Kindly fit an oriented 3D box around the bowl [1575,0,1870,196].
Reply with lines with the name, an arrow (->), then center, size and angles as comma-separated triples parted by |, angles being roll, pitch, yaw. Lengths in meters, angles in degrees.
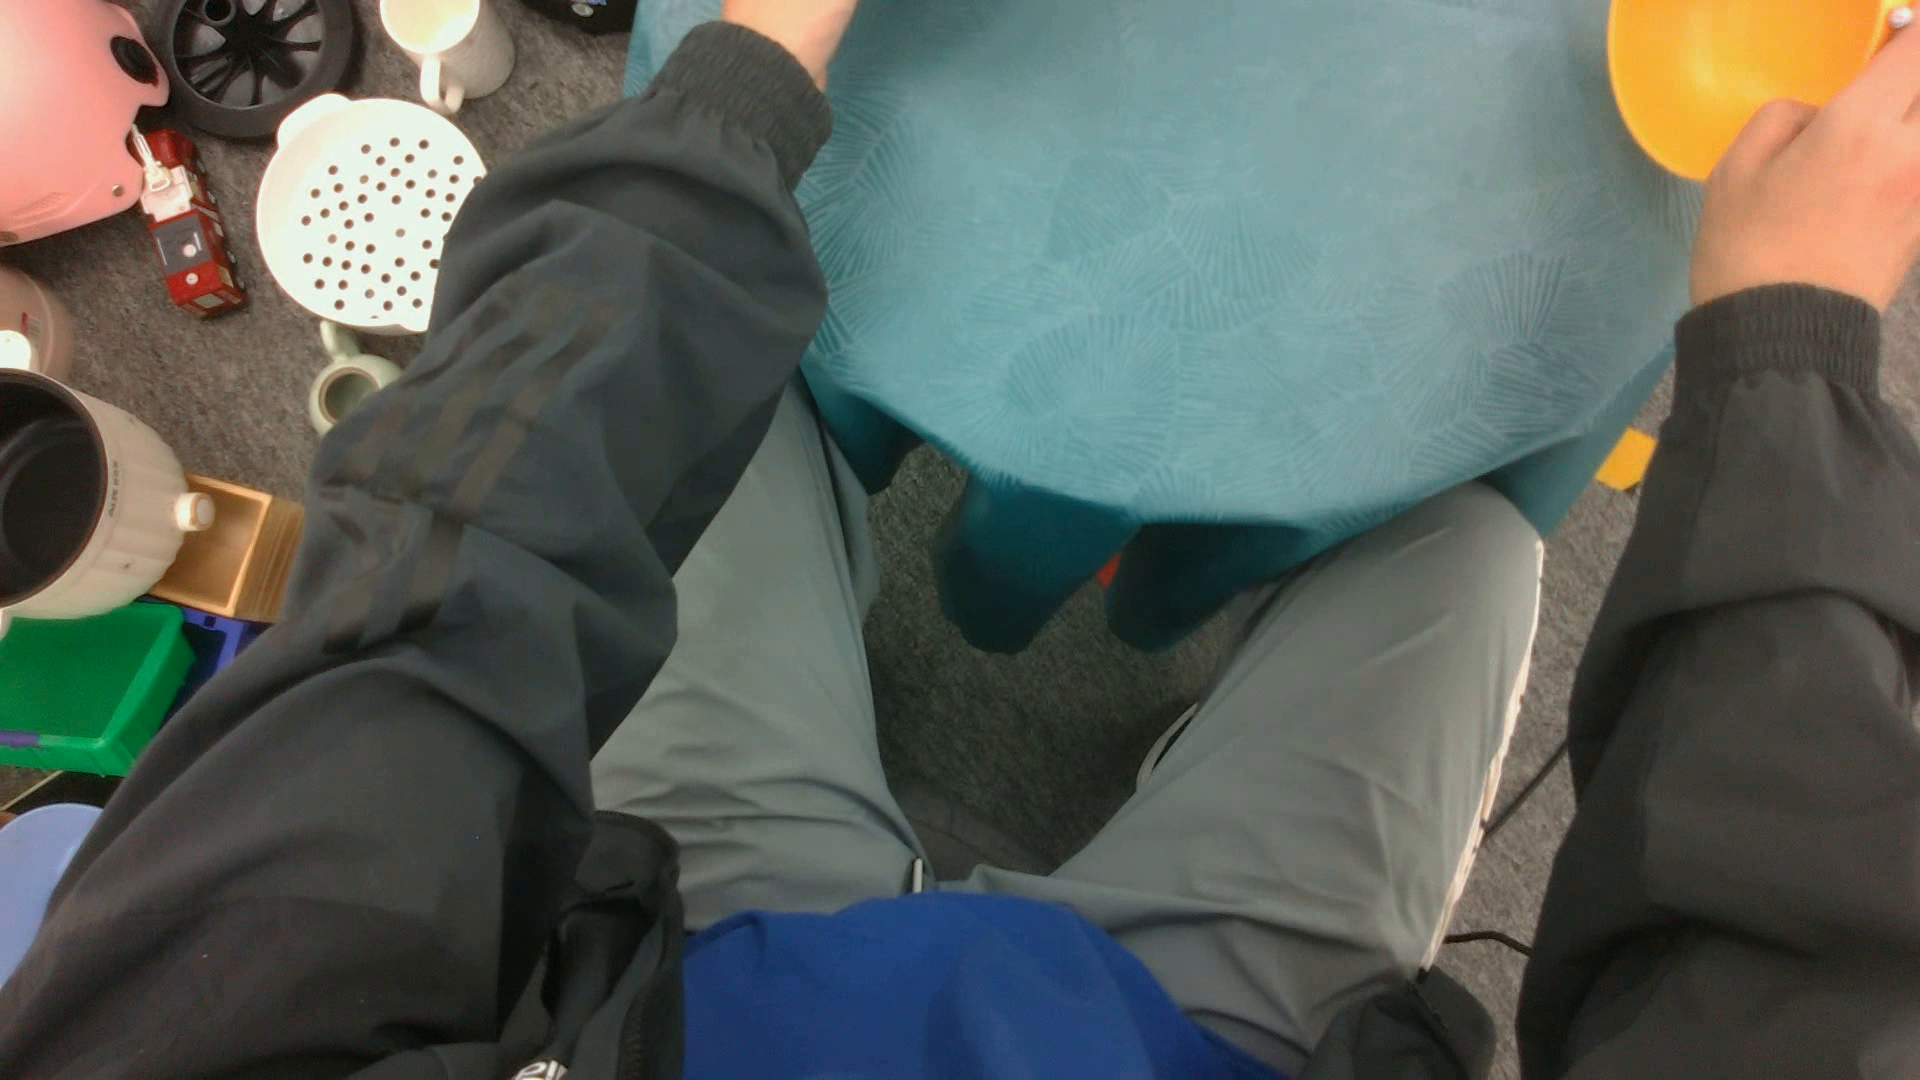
bowl -> 0.355, -0.232, 0.626 | 0.060, 0.145, 0.145 | -10, 83, -17
